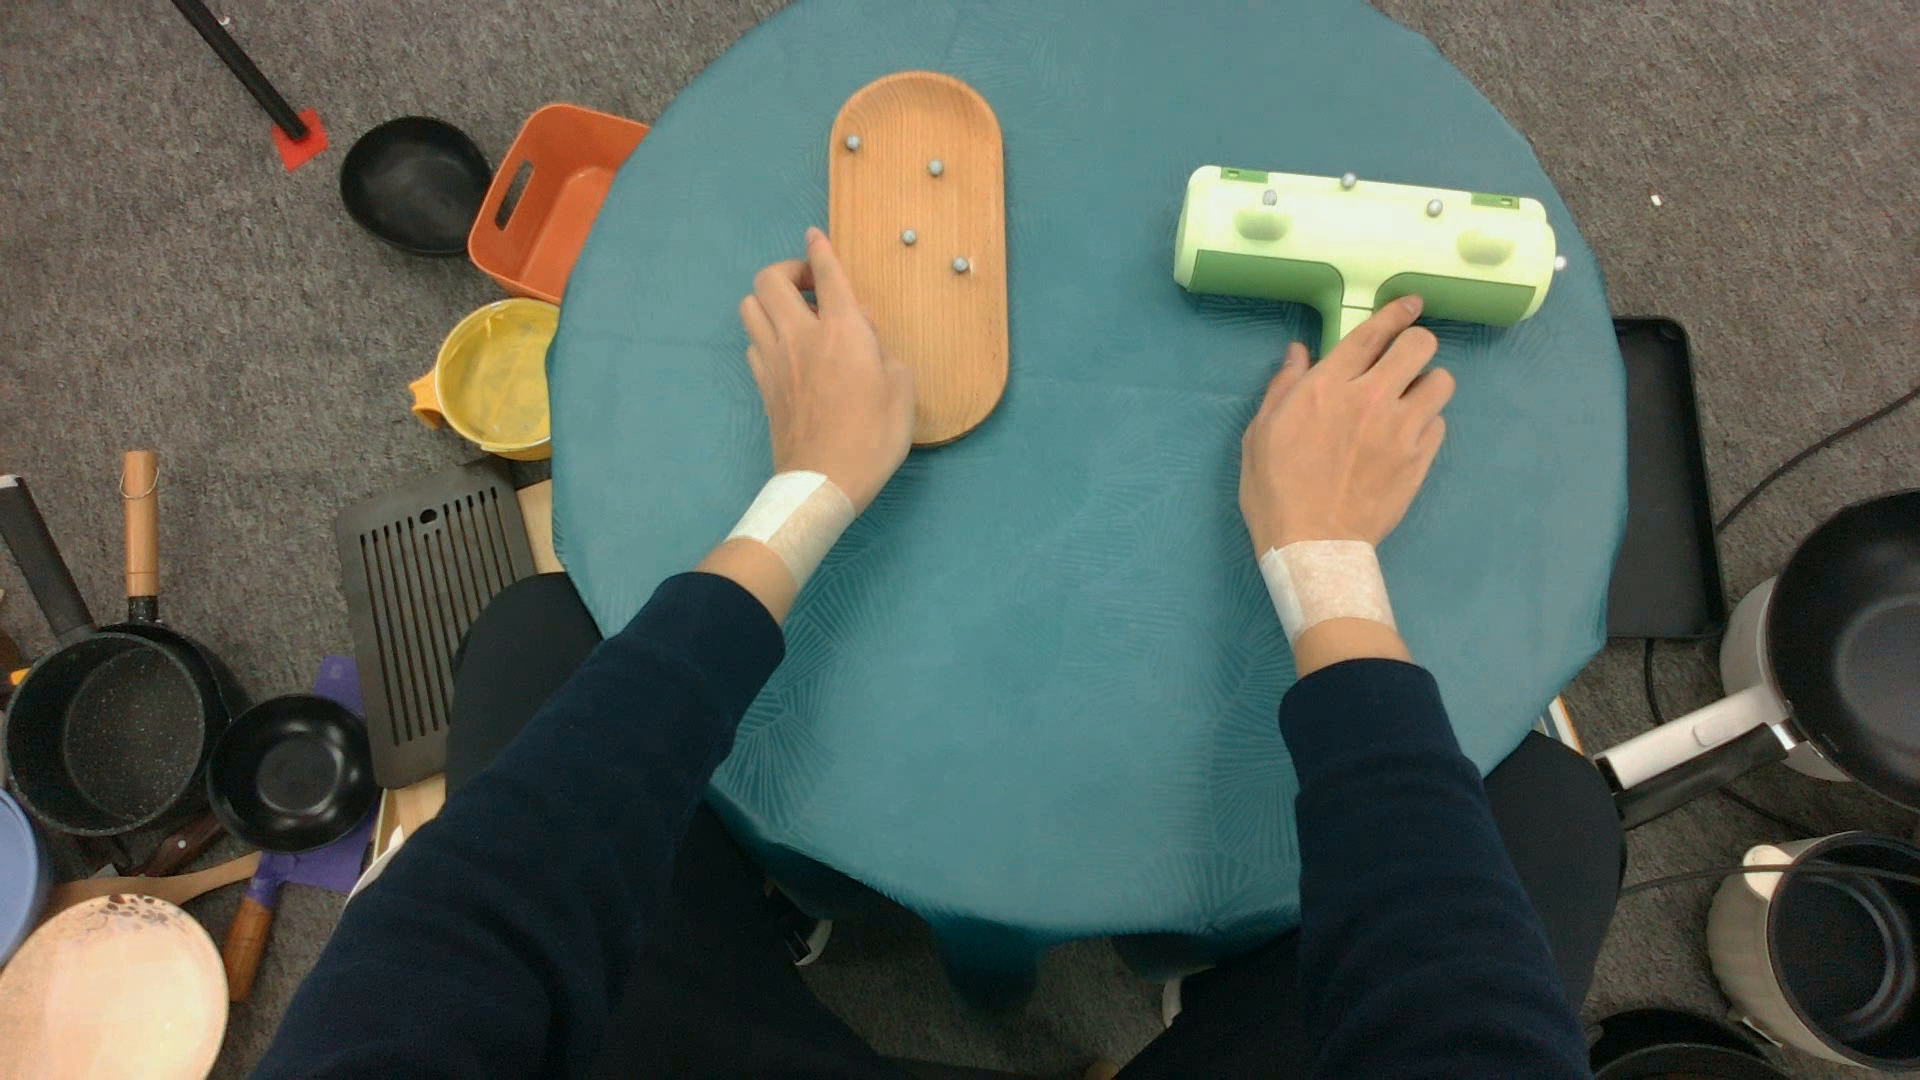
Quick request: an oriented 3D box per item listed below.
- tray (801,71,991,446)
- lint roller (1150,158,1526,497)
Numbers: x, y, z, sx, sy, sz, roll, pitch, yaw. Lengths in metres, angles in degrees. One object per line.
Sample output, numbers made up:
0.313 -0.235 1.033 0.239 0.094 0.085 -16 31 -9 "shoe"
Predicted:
-0.037 -0.162 0.780 0.102 0.020 0.231 -3 75 0 "tray"
0.200 -0.119 0.730 0.198 0.082 0.184 5 68 2 "lint roller"
